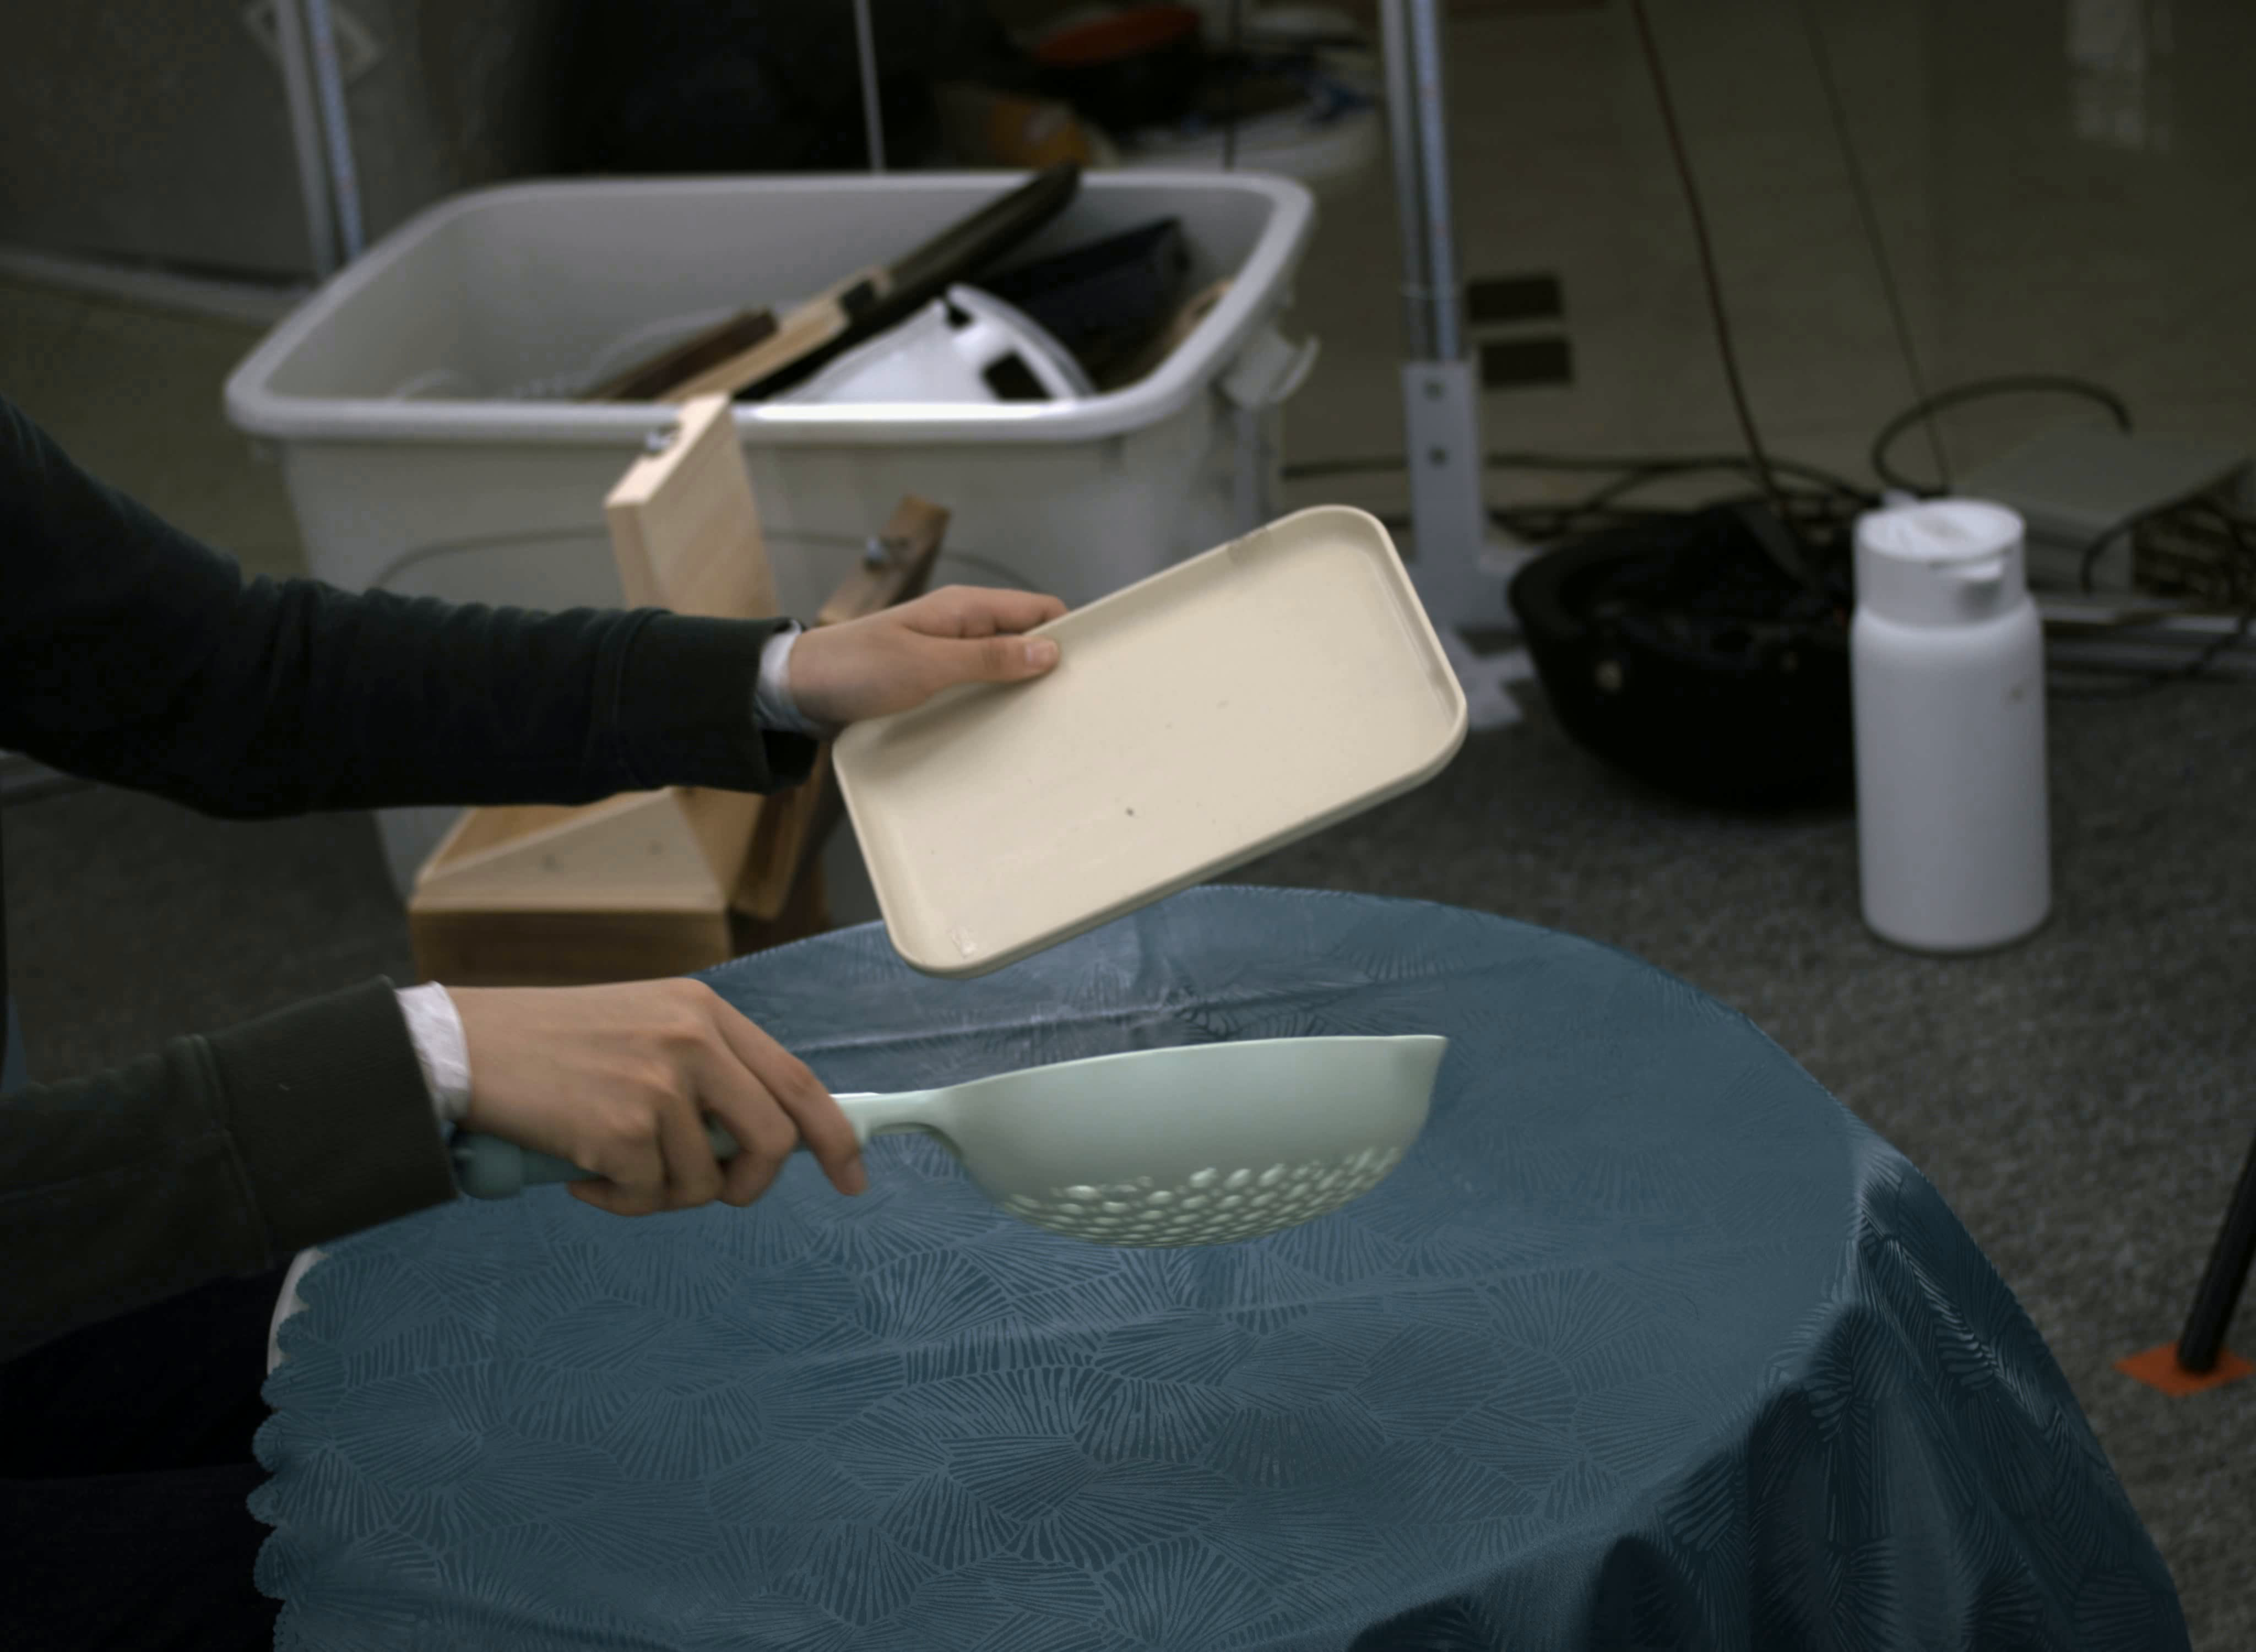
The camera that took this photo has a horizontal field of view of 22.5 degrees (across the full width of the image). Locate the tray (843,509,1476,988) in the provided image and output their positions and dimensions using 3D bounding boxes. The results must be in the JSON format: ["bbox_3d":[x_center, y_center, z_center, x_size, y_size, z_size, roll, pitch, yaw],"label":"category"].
[{"bbox_3d":[0.011,-0.030,2.198,0.239,0.018,0.168,-24,42,3],"label":"tray"}]

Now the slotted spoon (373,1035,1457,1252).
[{"bbox_3d":[-0.068,0.102,1.865,0.358,0.075,0.170,4,-11,-16],"label":"slotted spoon"}]
